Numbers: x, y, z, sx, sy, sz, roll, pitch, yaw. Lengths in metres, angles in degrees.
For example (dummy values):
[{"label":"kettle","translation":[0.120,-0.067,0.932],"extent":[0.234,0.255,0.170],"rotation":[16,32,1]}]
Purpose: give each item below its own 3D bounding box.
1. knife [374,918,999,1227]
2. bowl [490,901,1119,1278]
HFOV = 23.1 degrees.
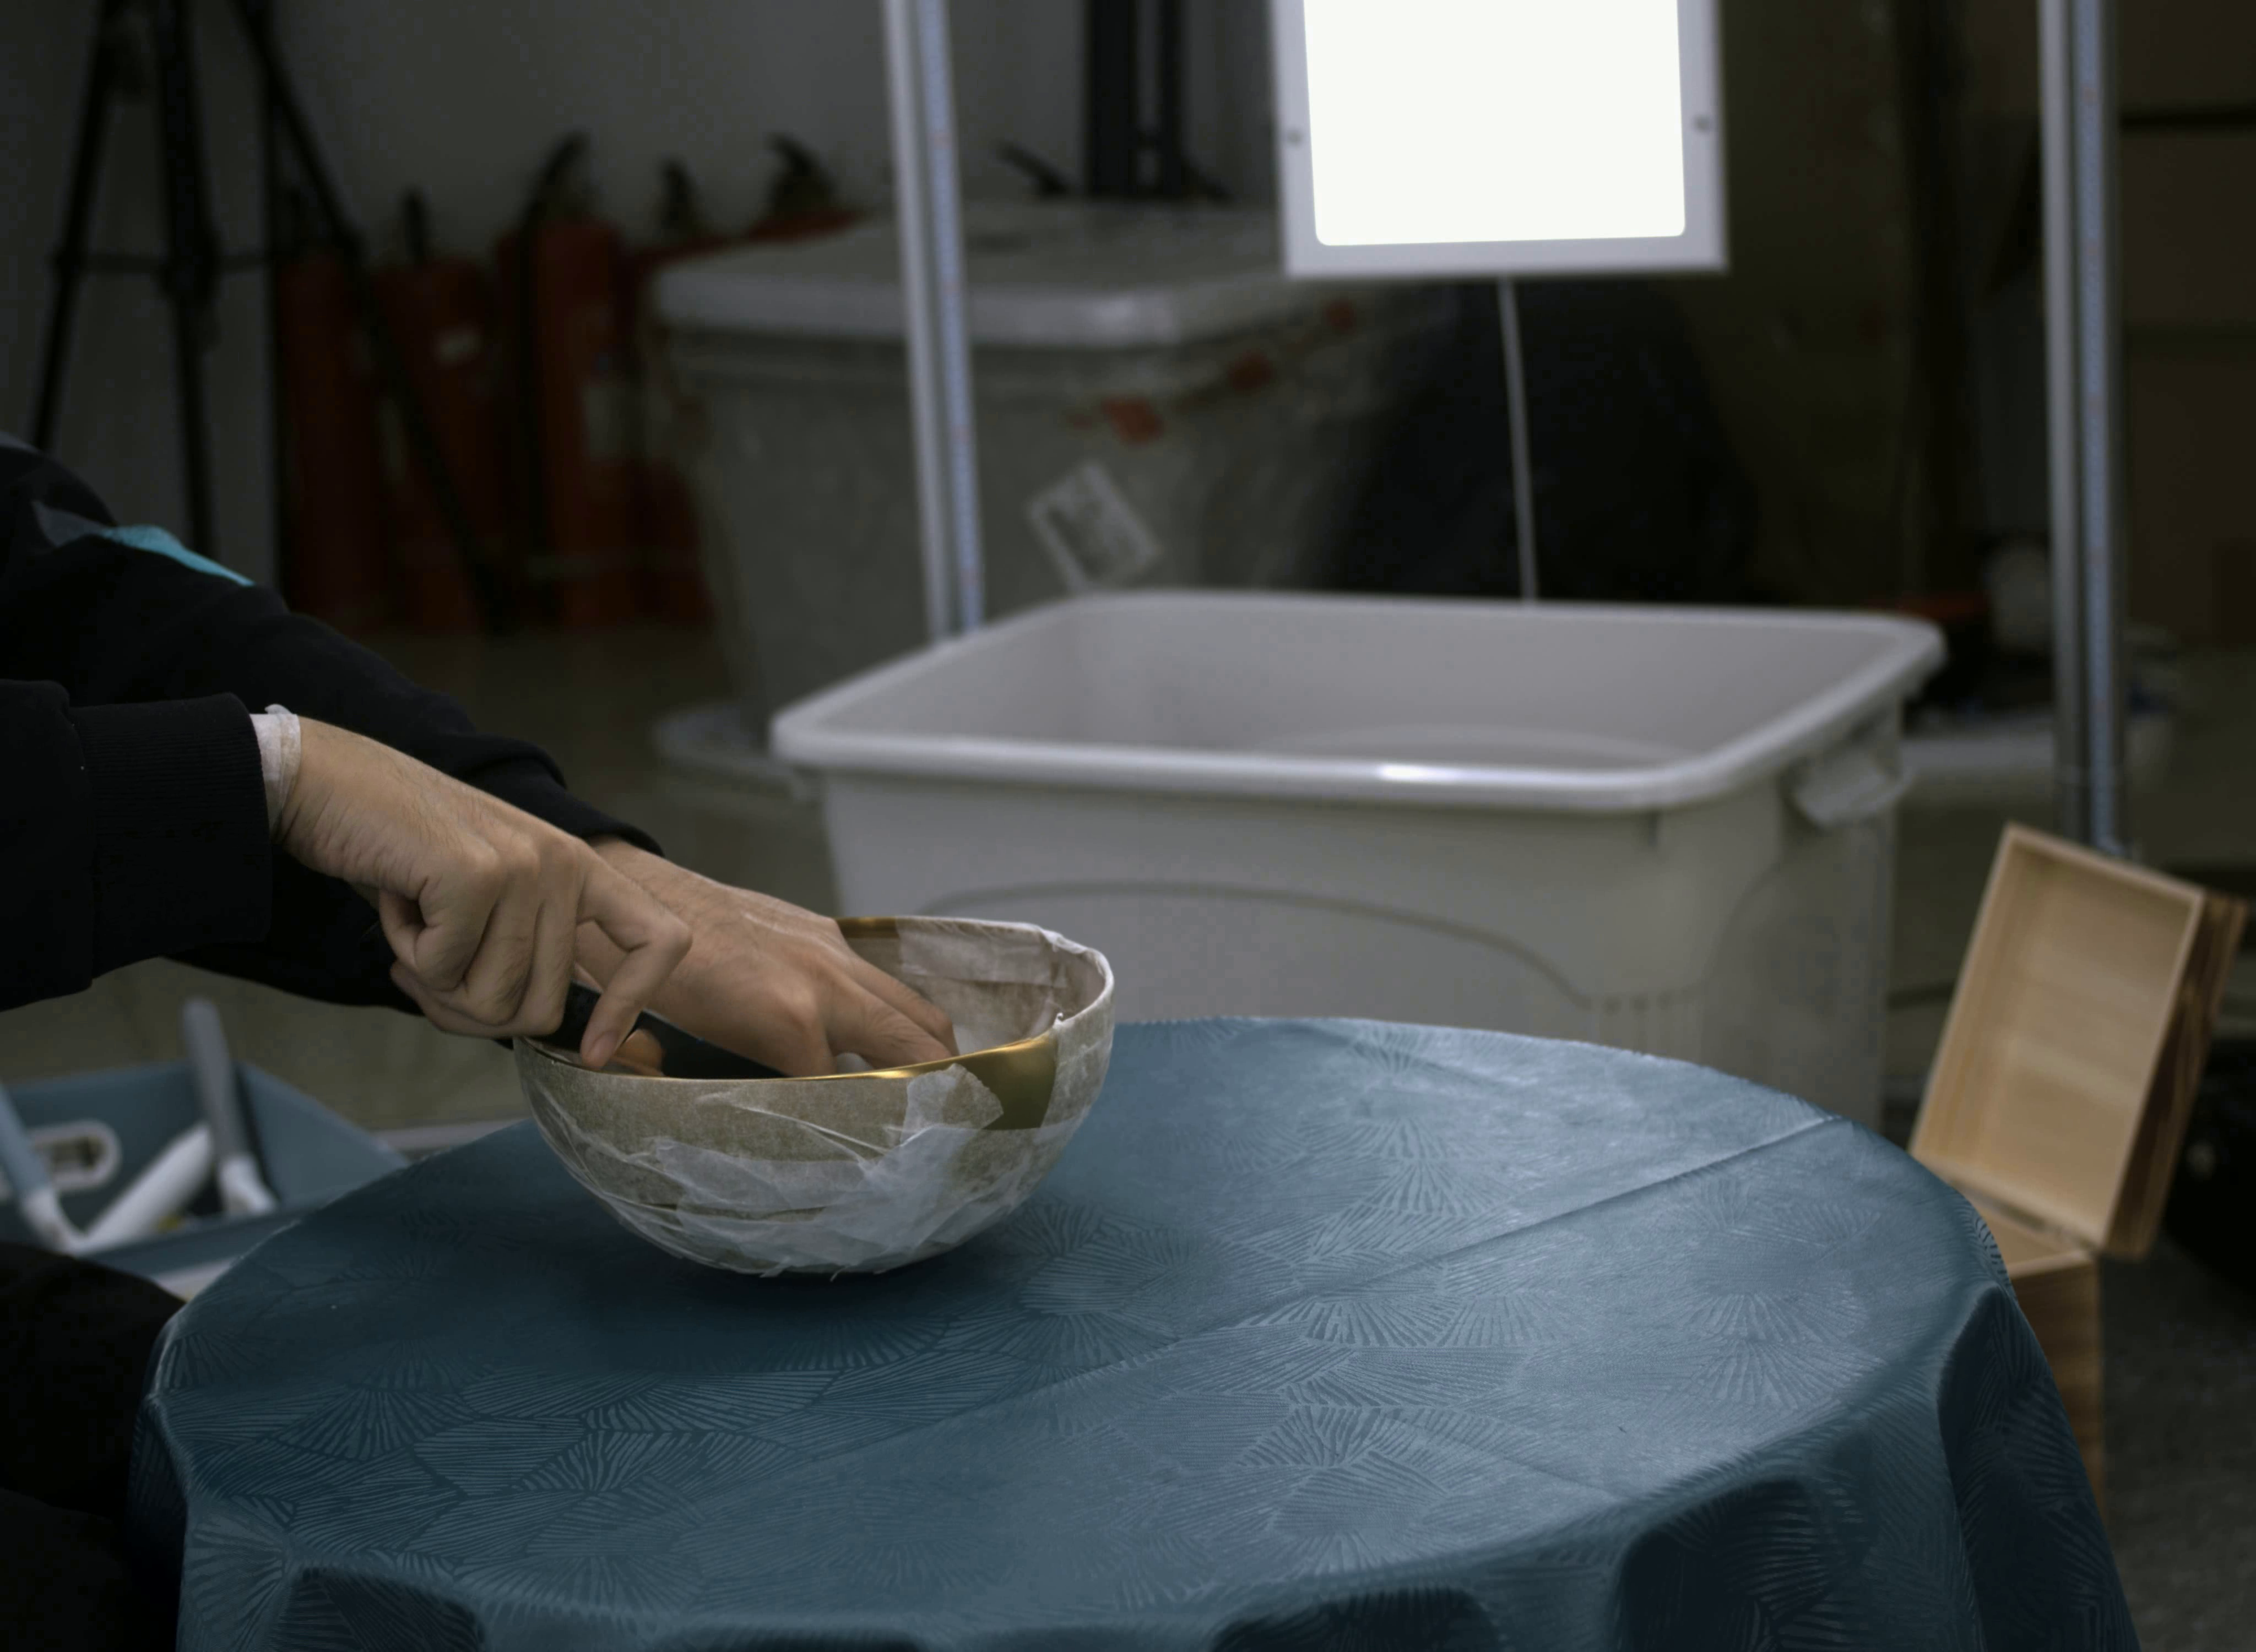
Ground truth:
[{"label":"knife","translation":[-0.143,0.080,1.801],"extent":[0.225,0.026,0.017],"rotation":[23,12,0]},{"label":"bowl","translation":[-0.106,0.097,1.852],"extent":[0.214,0.095,0.214],"rotation":[-4,15,0]}]
